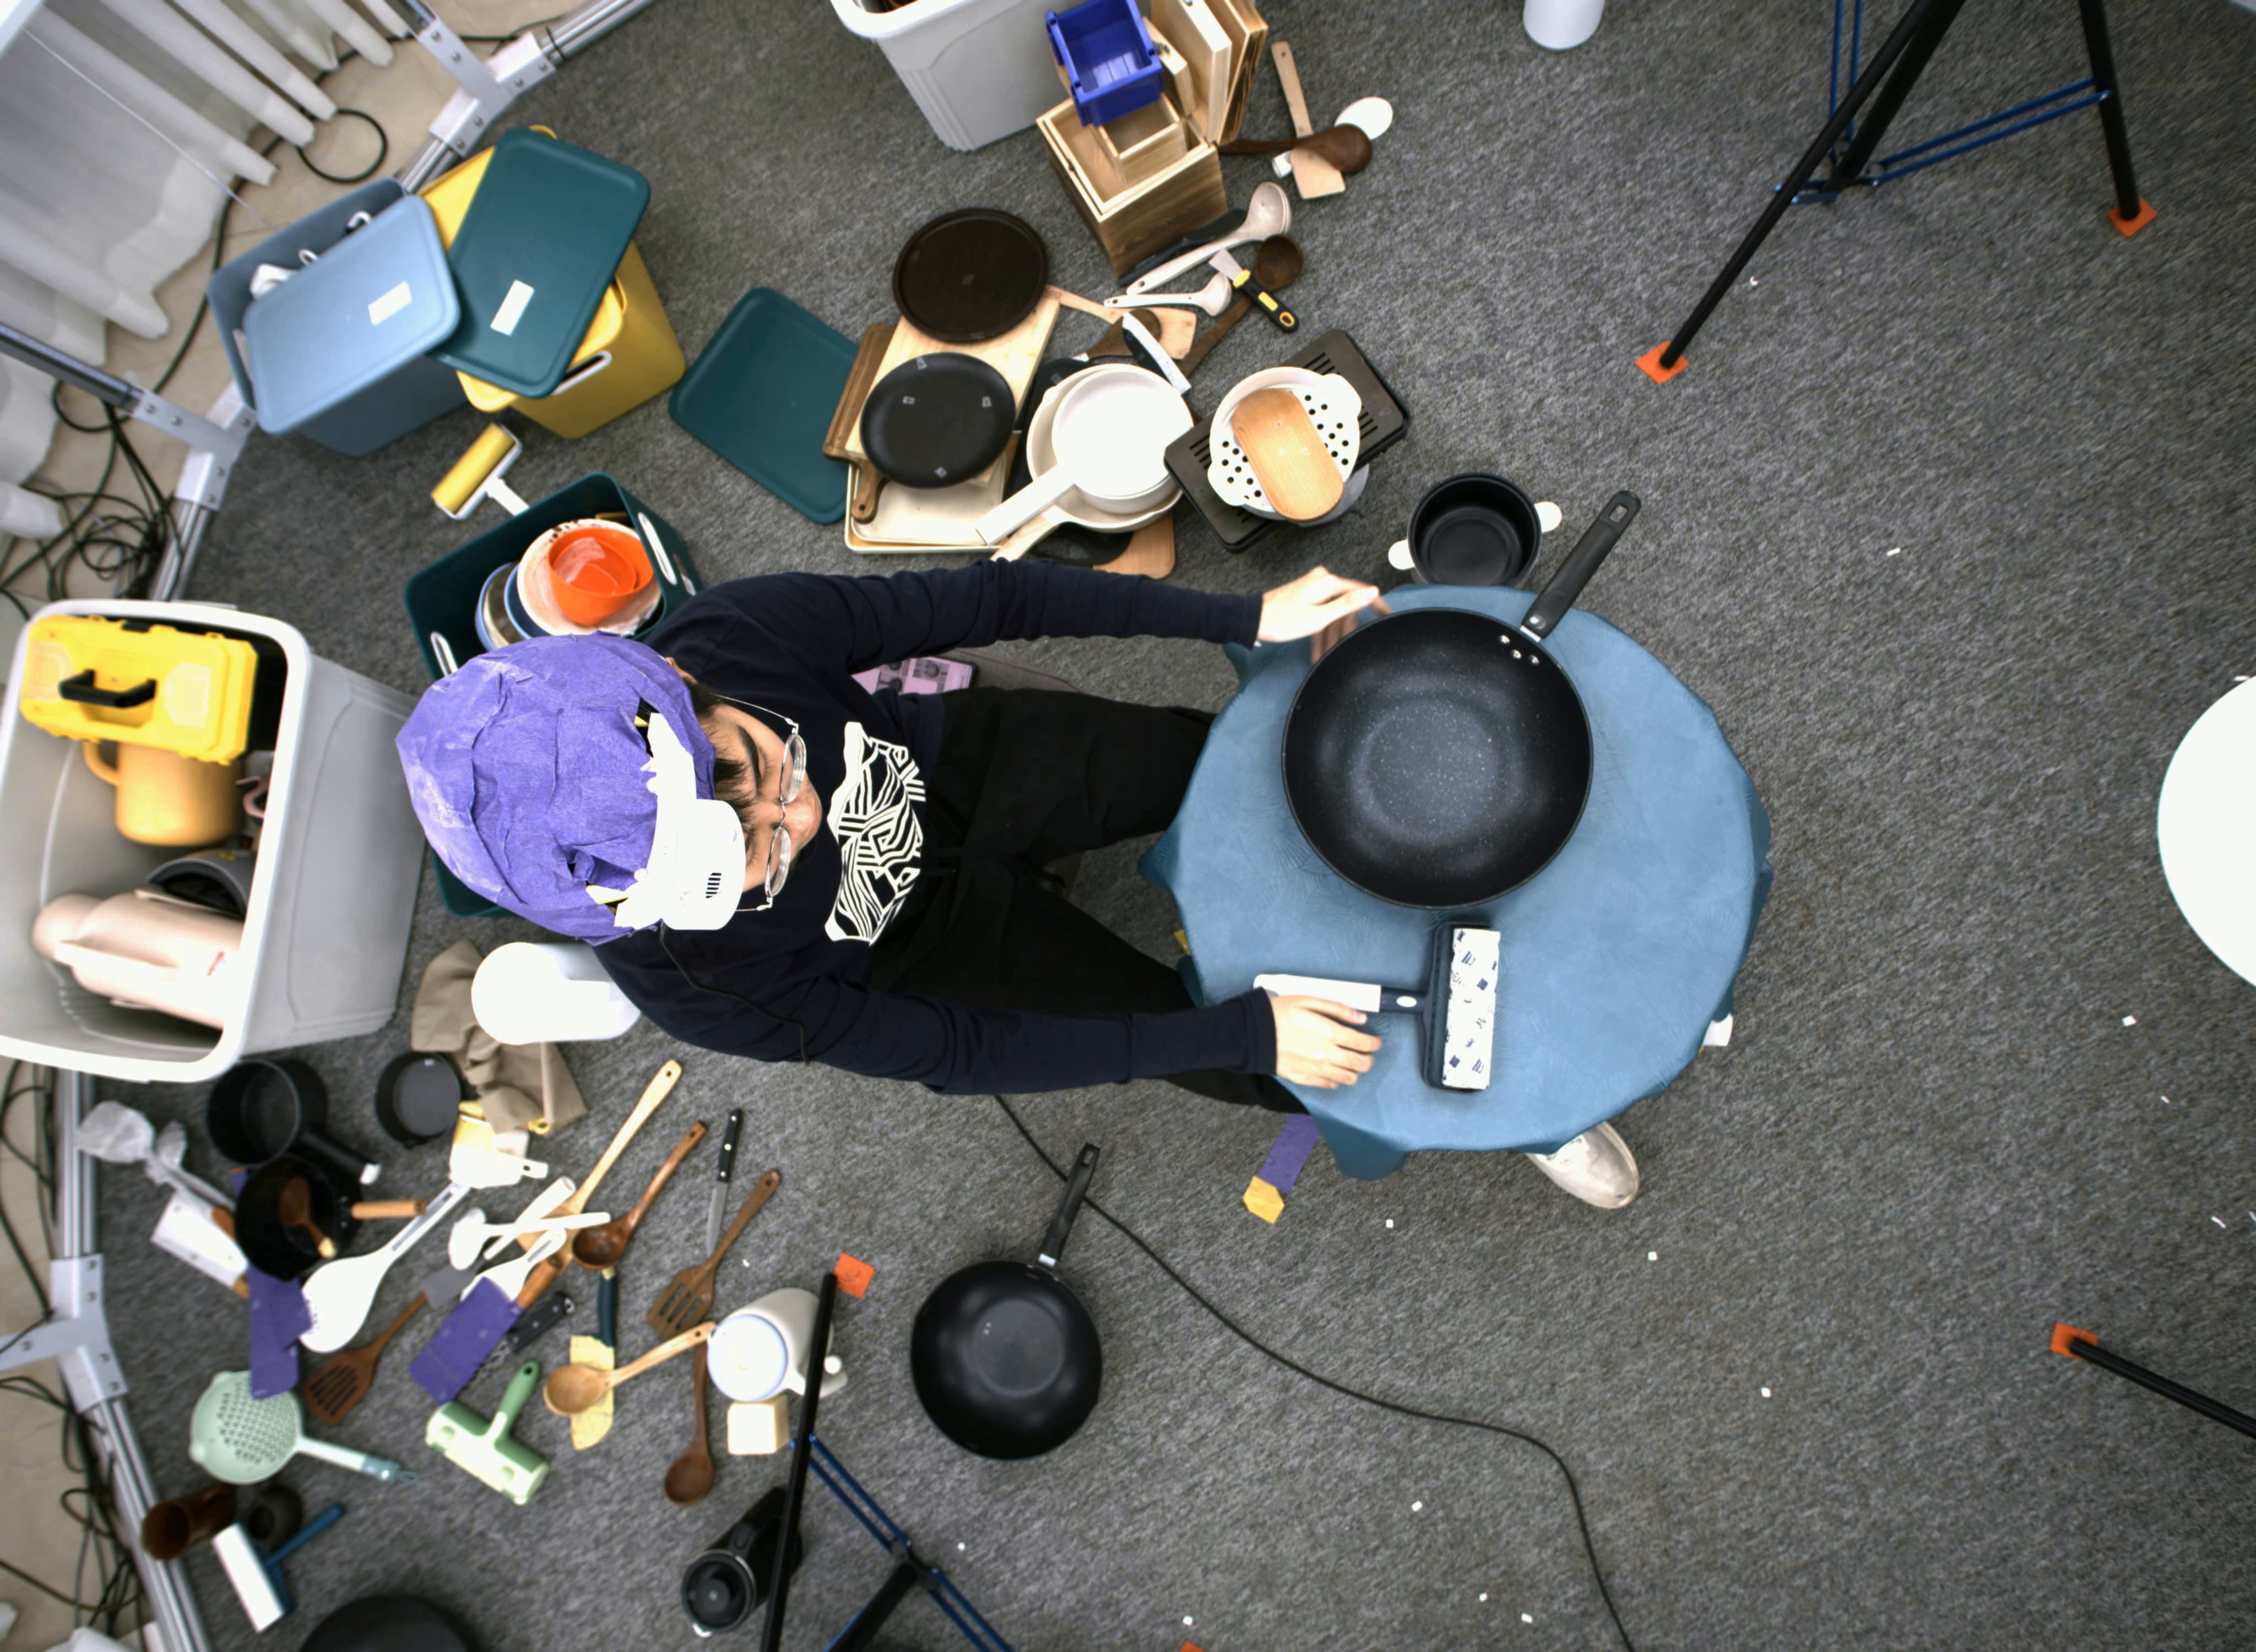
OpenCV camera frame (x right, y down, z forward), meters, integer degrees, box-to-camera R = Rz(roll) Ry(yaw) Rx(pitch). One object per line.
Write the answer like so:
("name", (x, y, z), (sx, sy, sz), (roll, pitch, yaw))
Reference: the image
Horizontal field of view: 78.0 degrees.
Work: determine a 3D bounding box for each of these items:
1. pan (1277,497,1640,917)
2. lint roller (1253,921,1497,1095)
("pan", (0.360, -0.130, 1.400), (0.309, 0.111, 0.478), (37, 94, 9))
("lint roller", (0.251, 0.178, 1.437), (0.248, 0.050, 0.176), (4, 88, 13))
